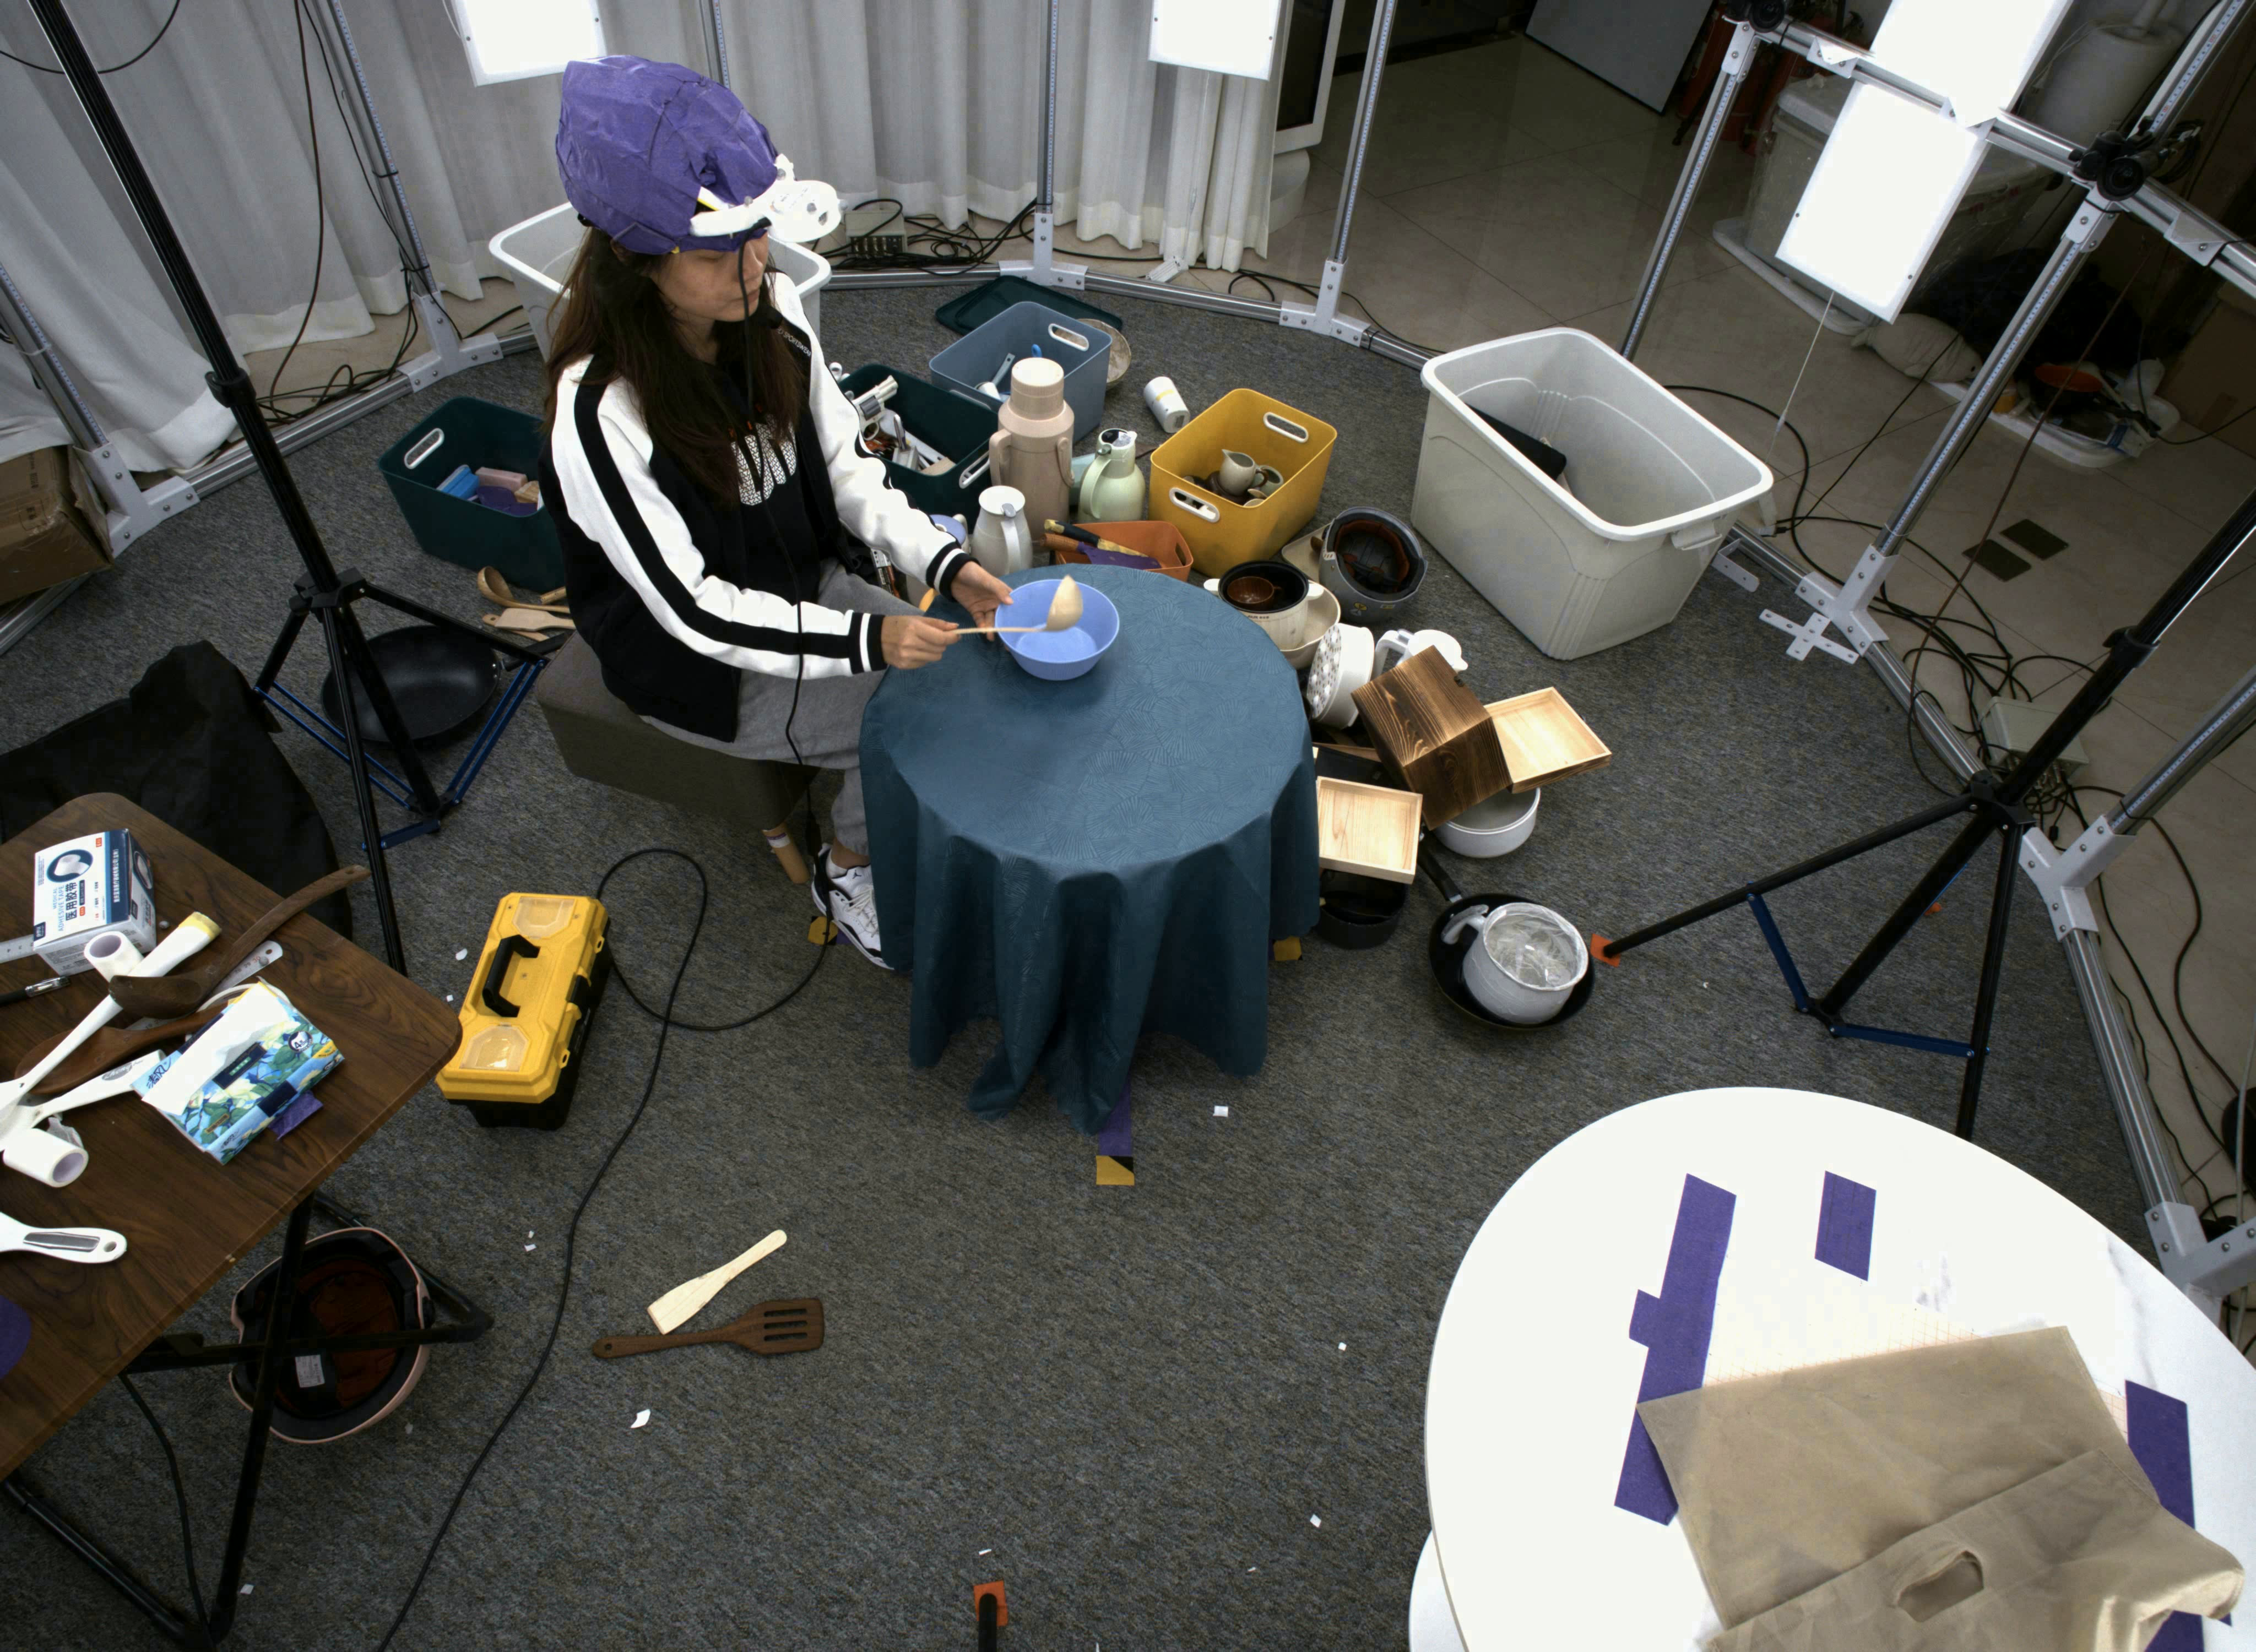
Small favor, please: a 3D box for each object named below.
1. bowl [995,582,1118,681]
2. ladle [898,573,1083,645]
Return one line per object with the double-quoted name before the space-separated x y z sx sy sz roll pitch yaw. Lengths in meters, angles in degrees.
"bowl" -0.103 -0.272 1.853 0.176 0.068 0.180 2 48 -3
"ladle" -0.187 -0.288 1.709 0.254 0.072 0.072 -4 6 10
